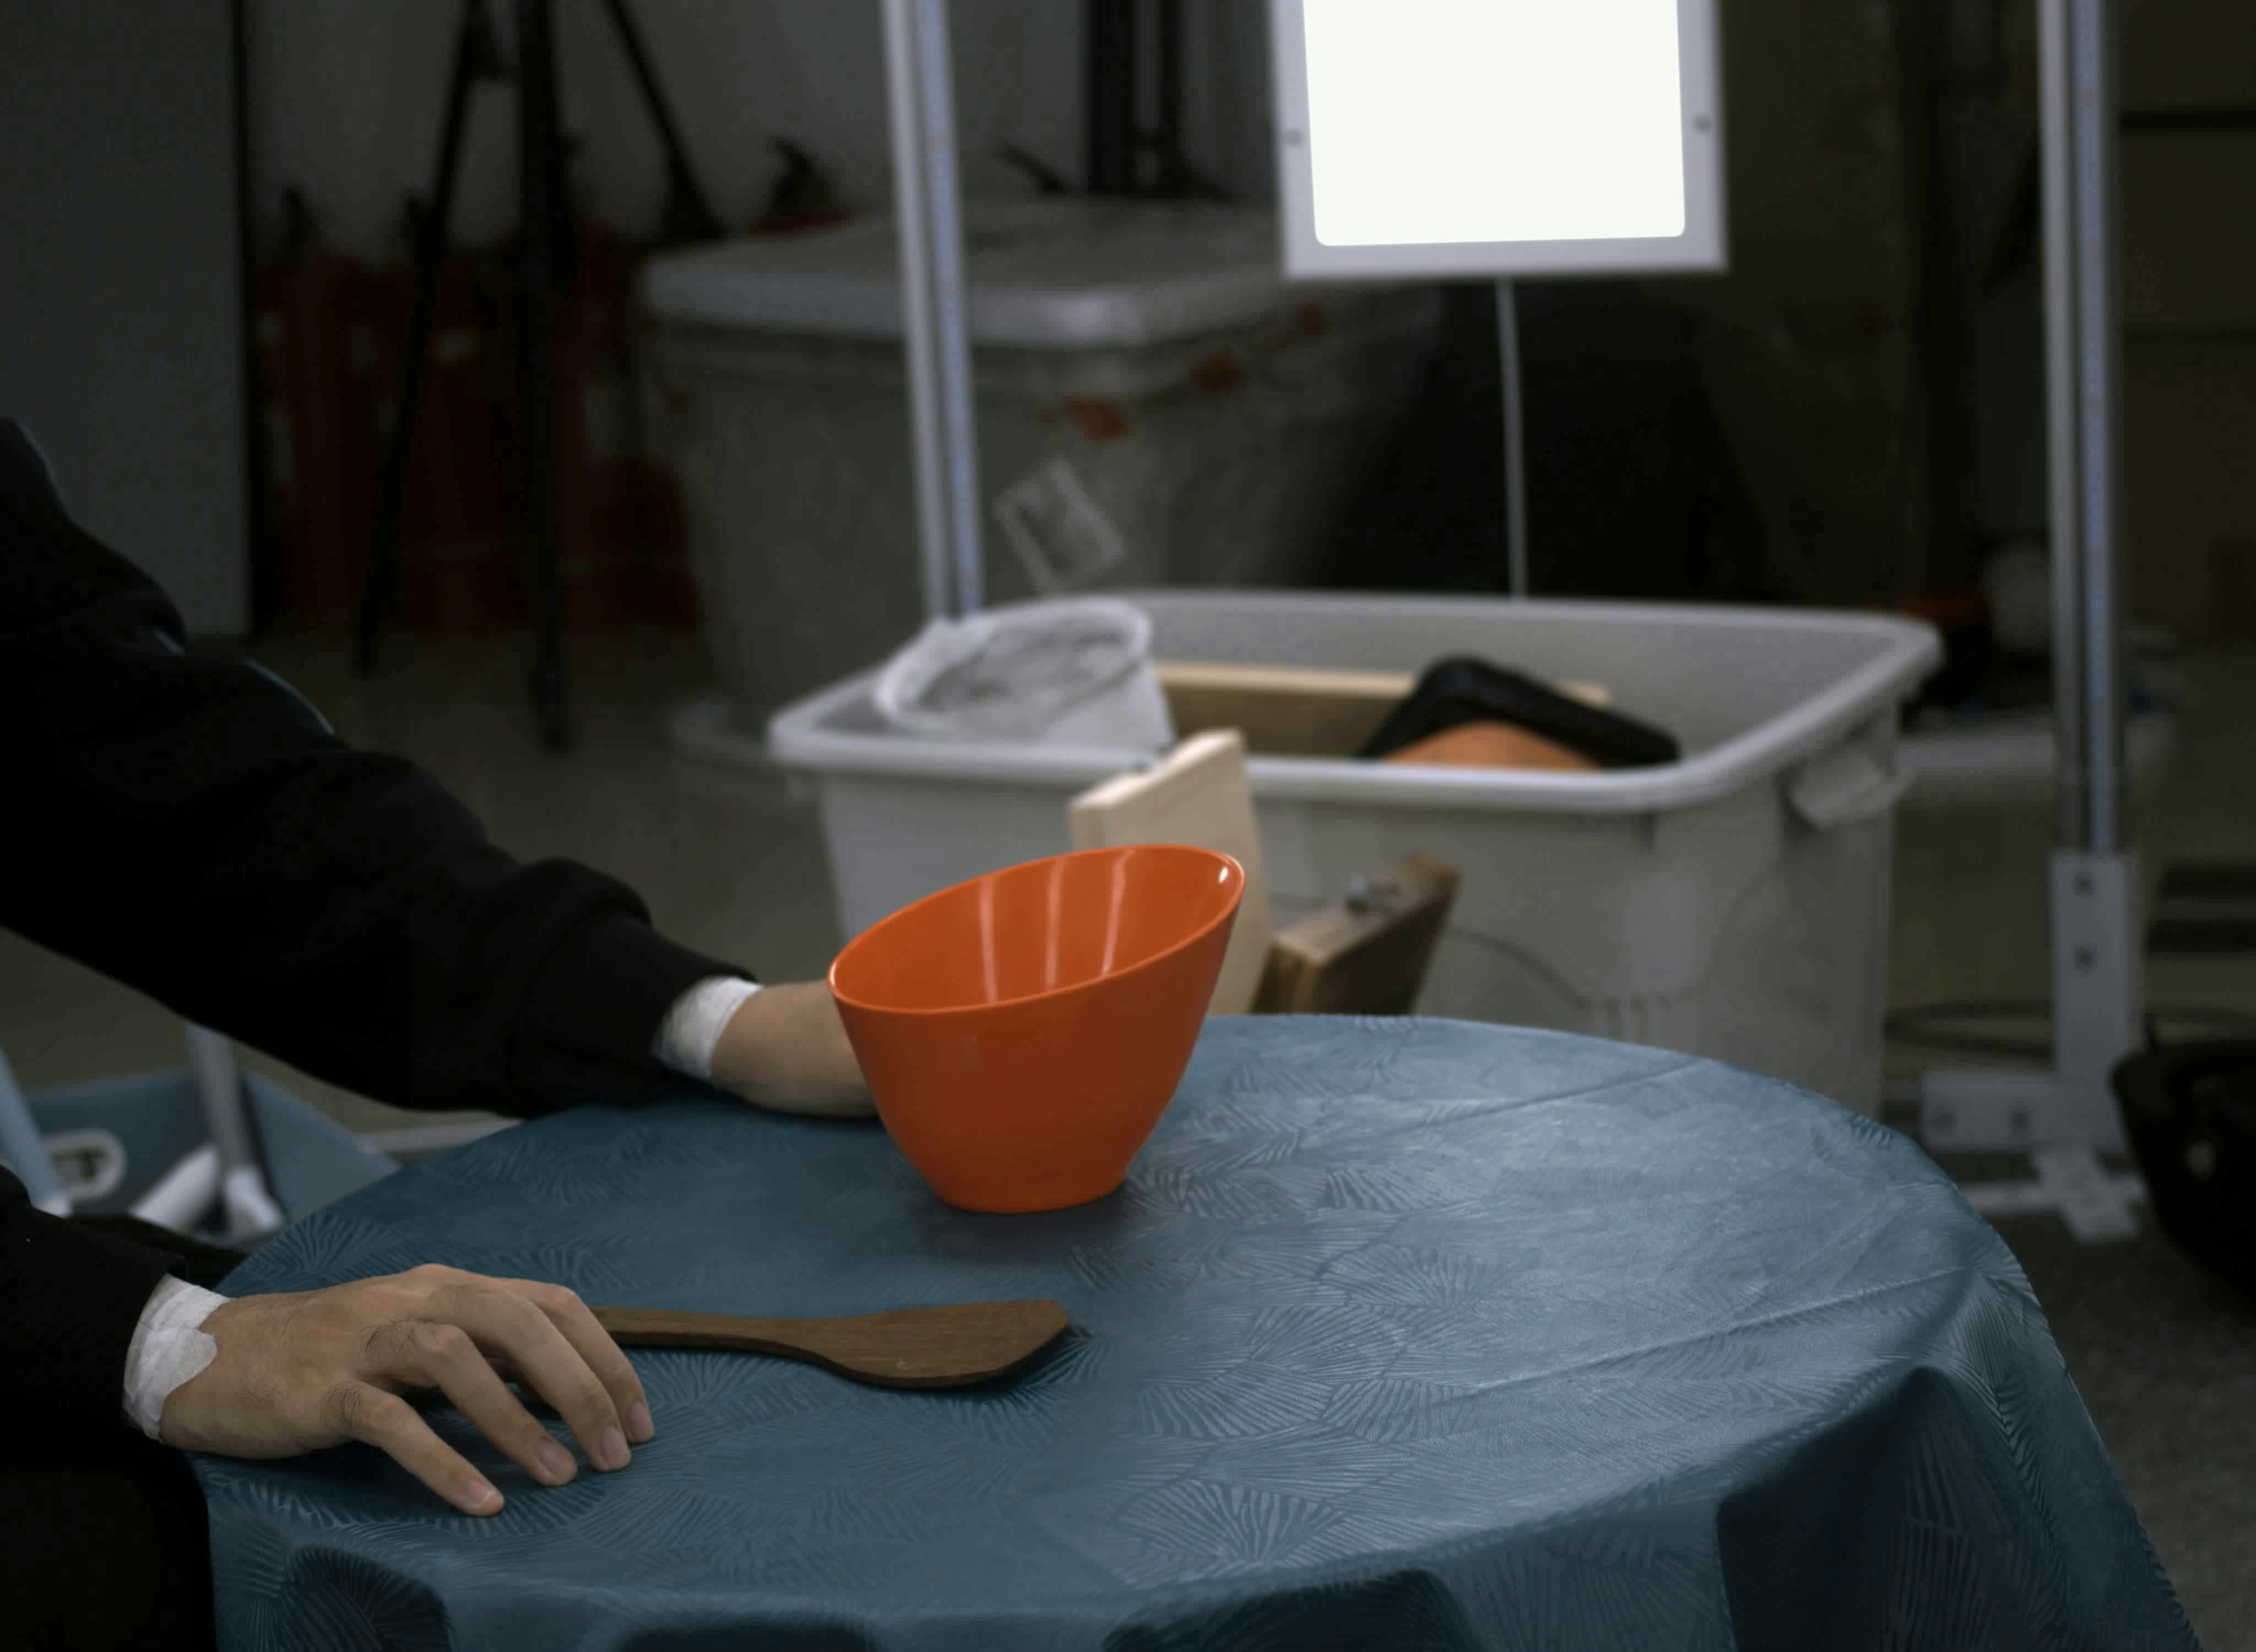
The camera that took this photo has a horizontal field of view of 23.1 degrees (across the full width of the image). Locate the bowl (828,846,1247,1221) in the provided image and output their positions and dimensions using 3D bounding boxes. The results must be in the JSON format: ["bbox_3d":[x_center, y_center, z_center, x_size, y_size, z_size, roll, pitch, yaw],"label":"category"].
[{"bbox_3d":[-0.027,0.075,1.907,0.147,0.105,0.148,-6,16,0],"label":"bowl"}]

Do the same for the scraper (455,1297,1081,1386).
[{"bbox_3d":[-0.119,0.163,1.775,0.214,0.011,0.074,0,14,23],"label":"scraper"}]
